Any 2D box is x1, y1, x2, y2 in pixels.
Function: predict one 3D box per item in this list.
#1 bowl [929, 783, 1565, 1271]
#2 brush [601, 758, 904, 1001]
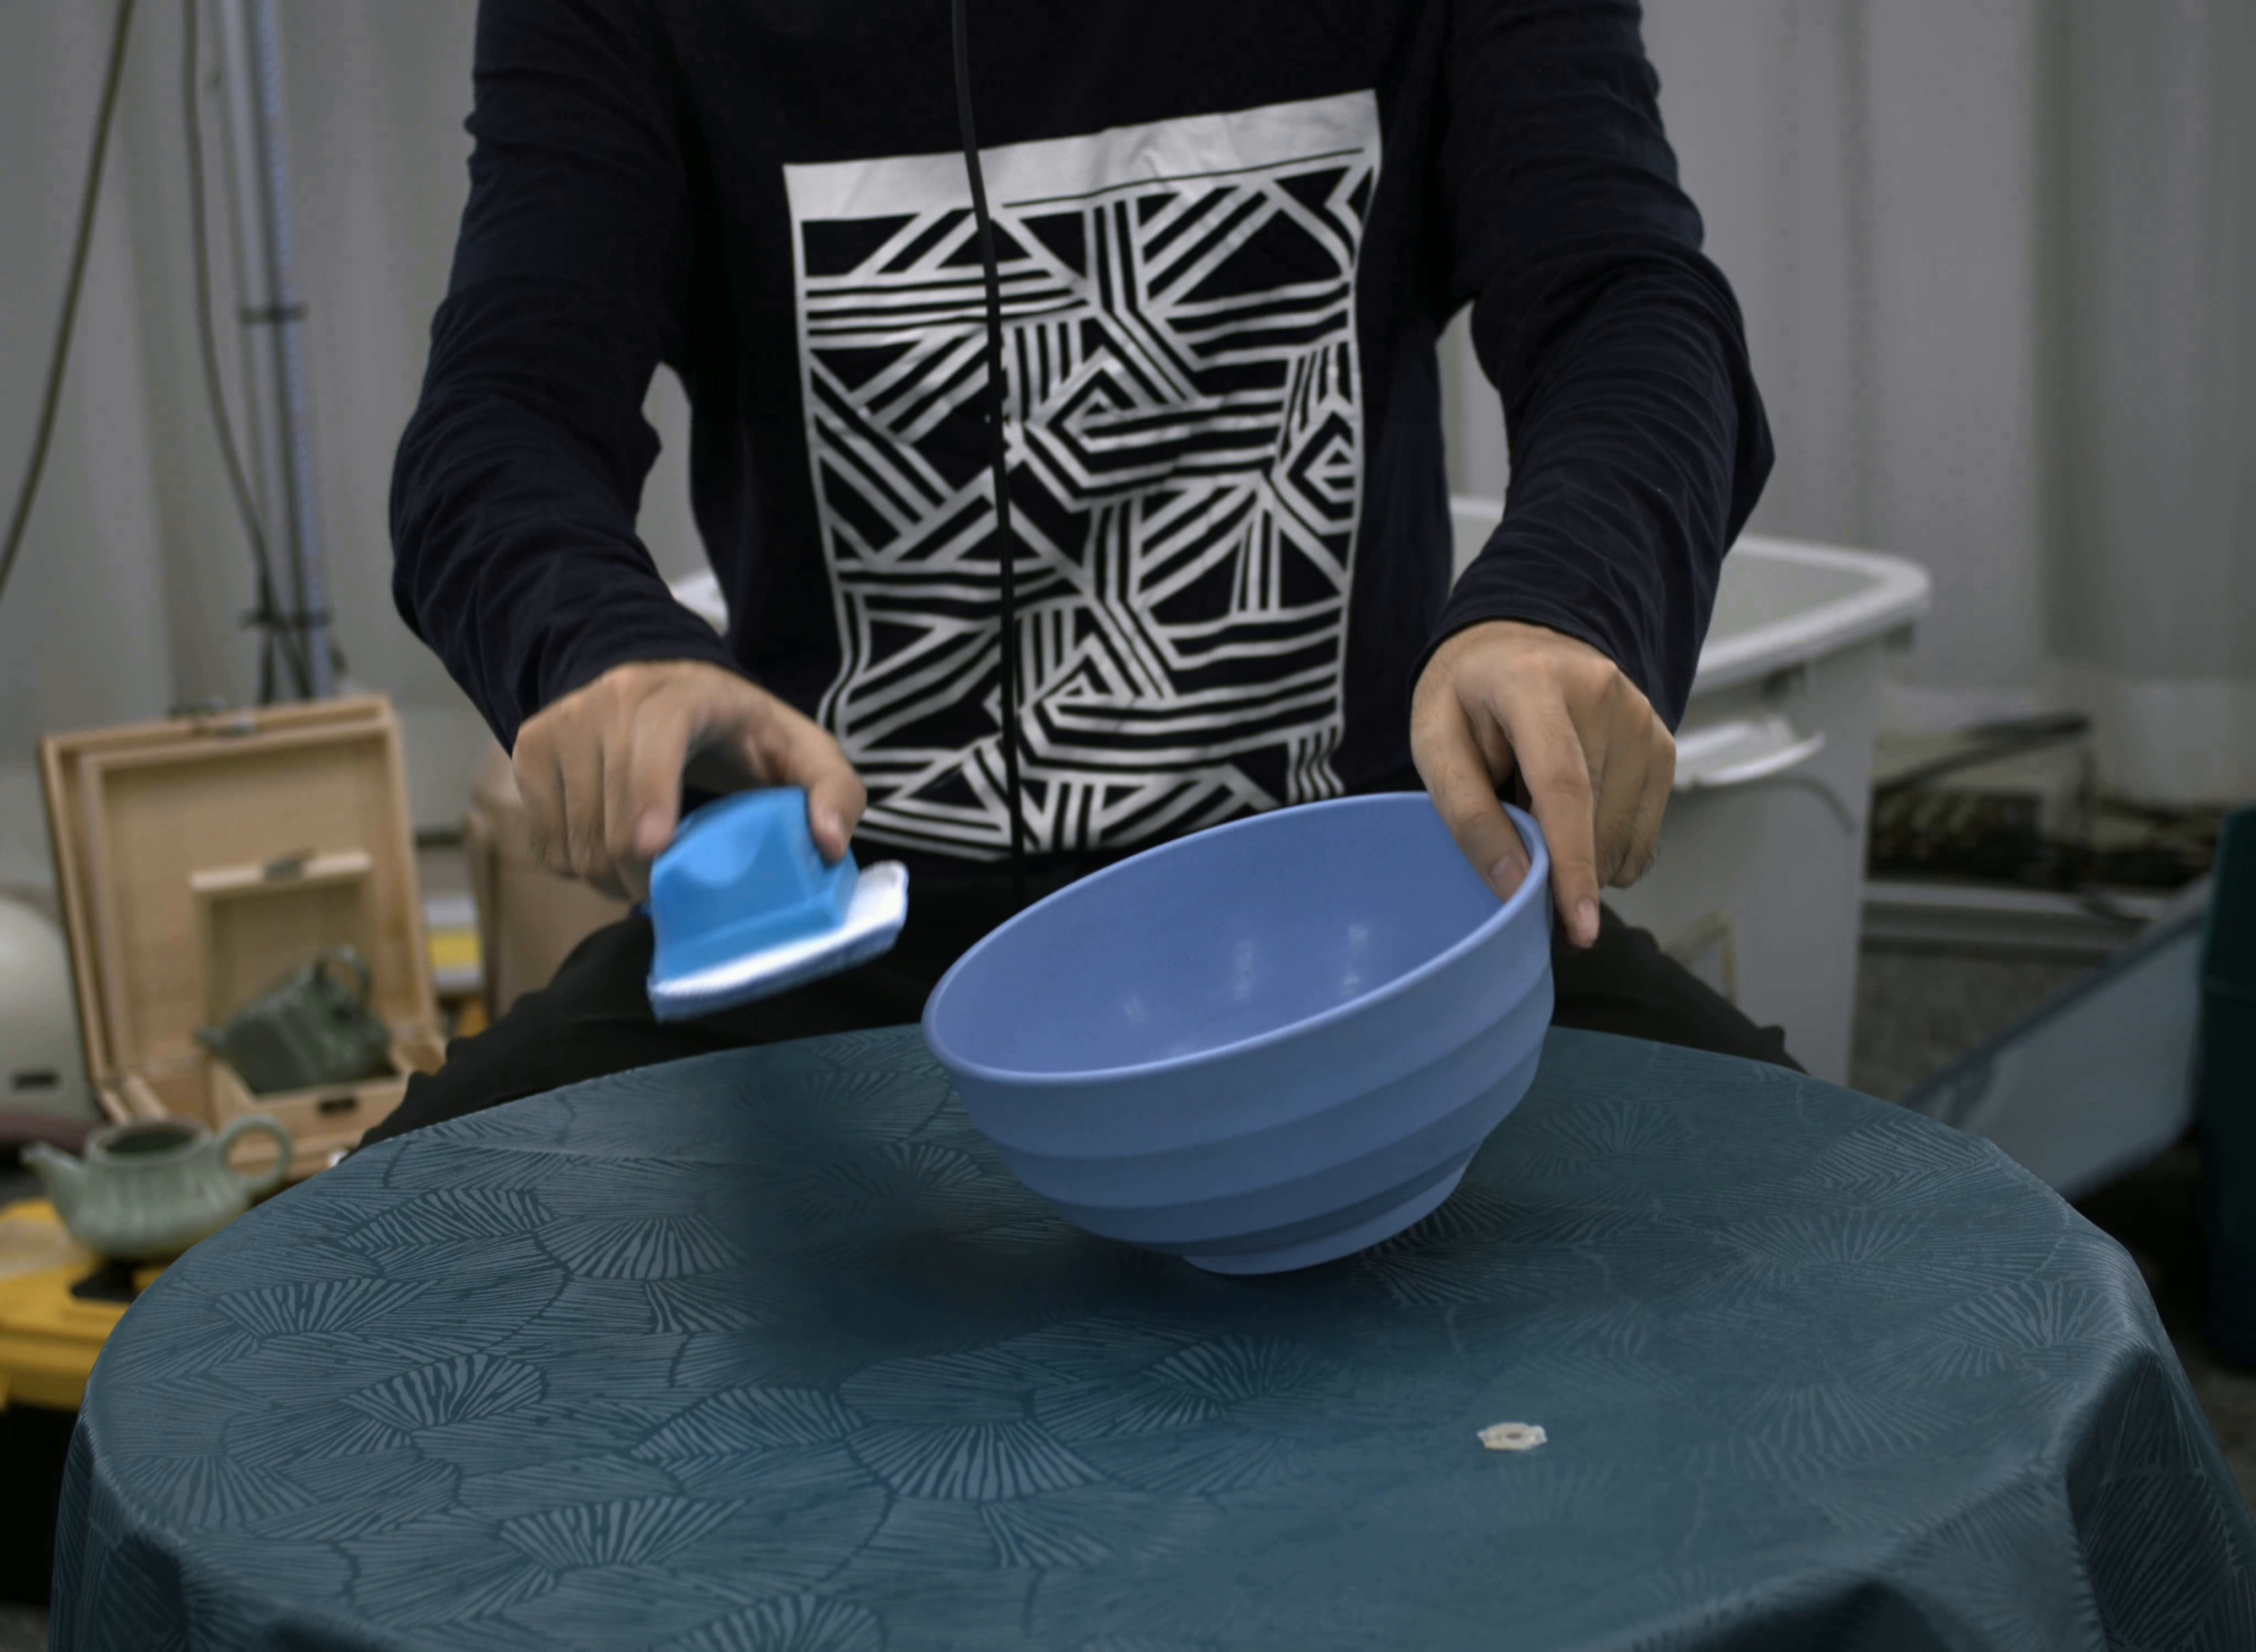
[{"bbox_3d":[0.046,0.071,1.647,0.196,0.095,0.198,-15,19,5],"label":"bowl"},{"bbox_3d":[-0.115,0.014,1.634,0.083,0.056,0.144,-15,10,4],"label":"brush"}]
